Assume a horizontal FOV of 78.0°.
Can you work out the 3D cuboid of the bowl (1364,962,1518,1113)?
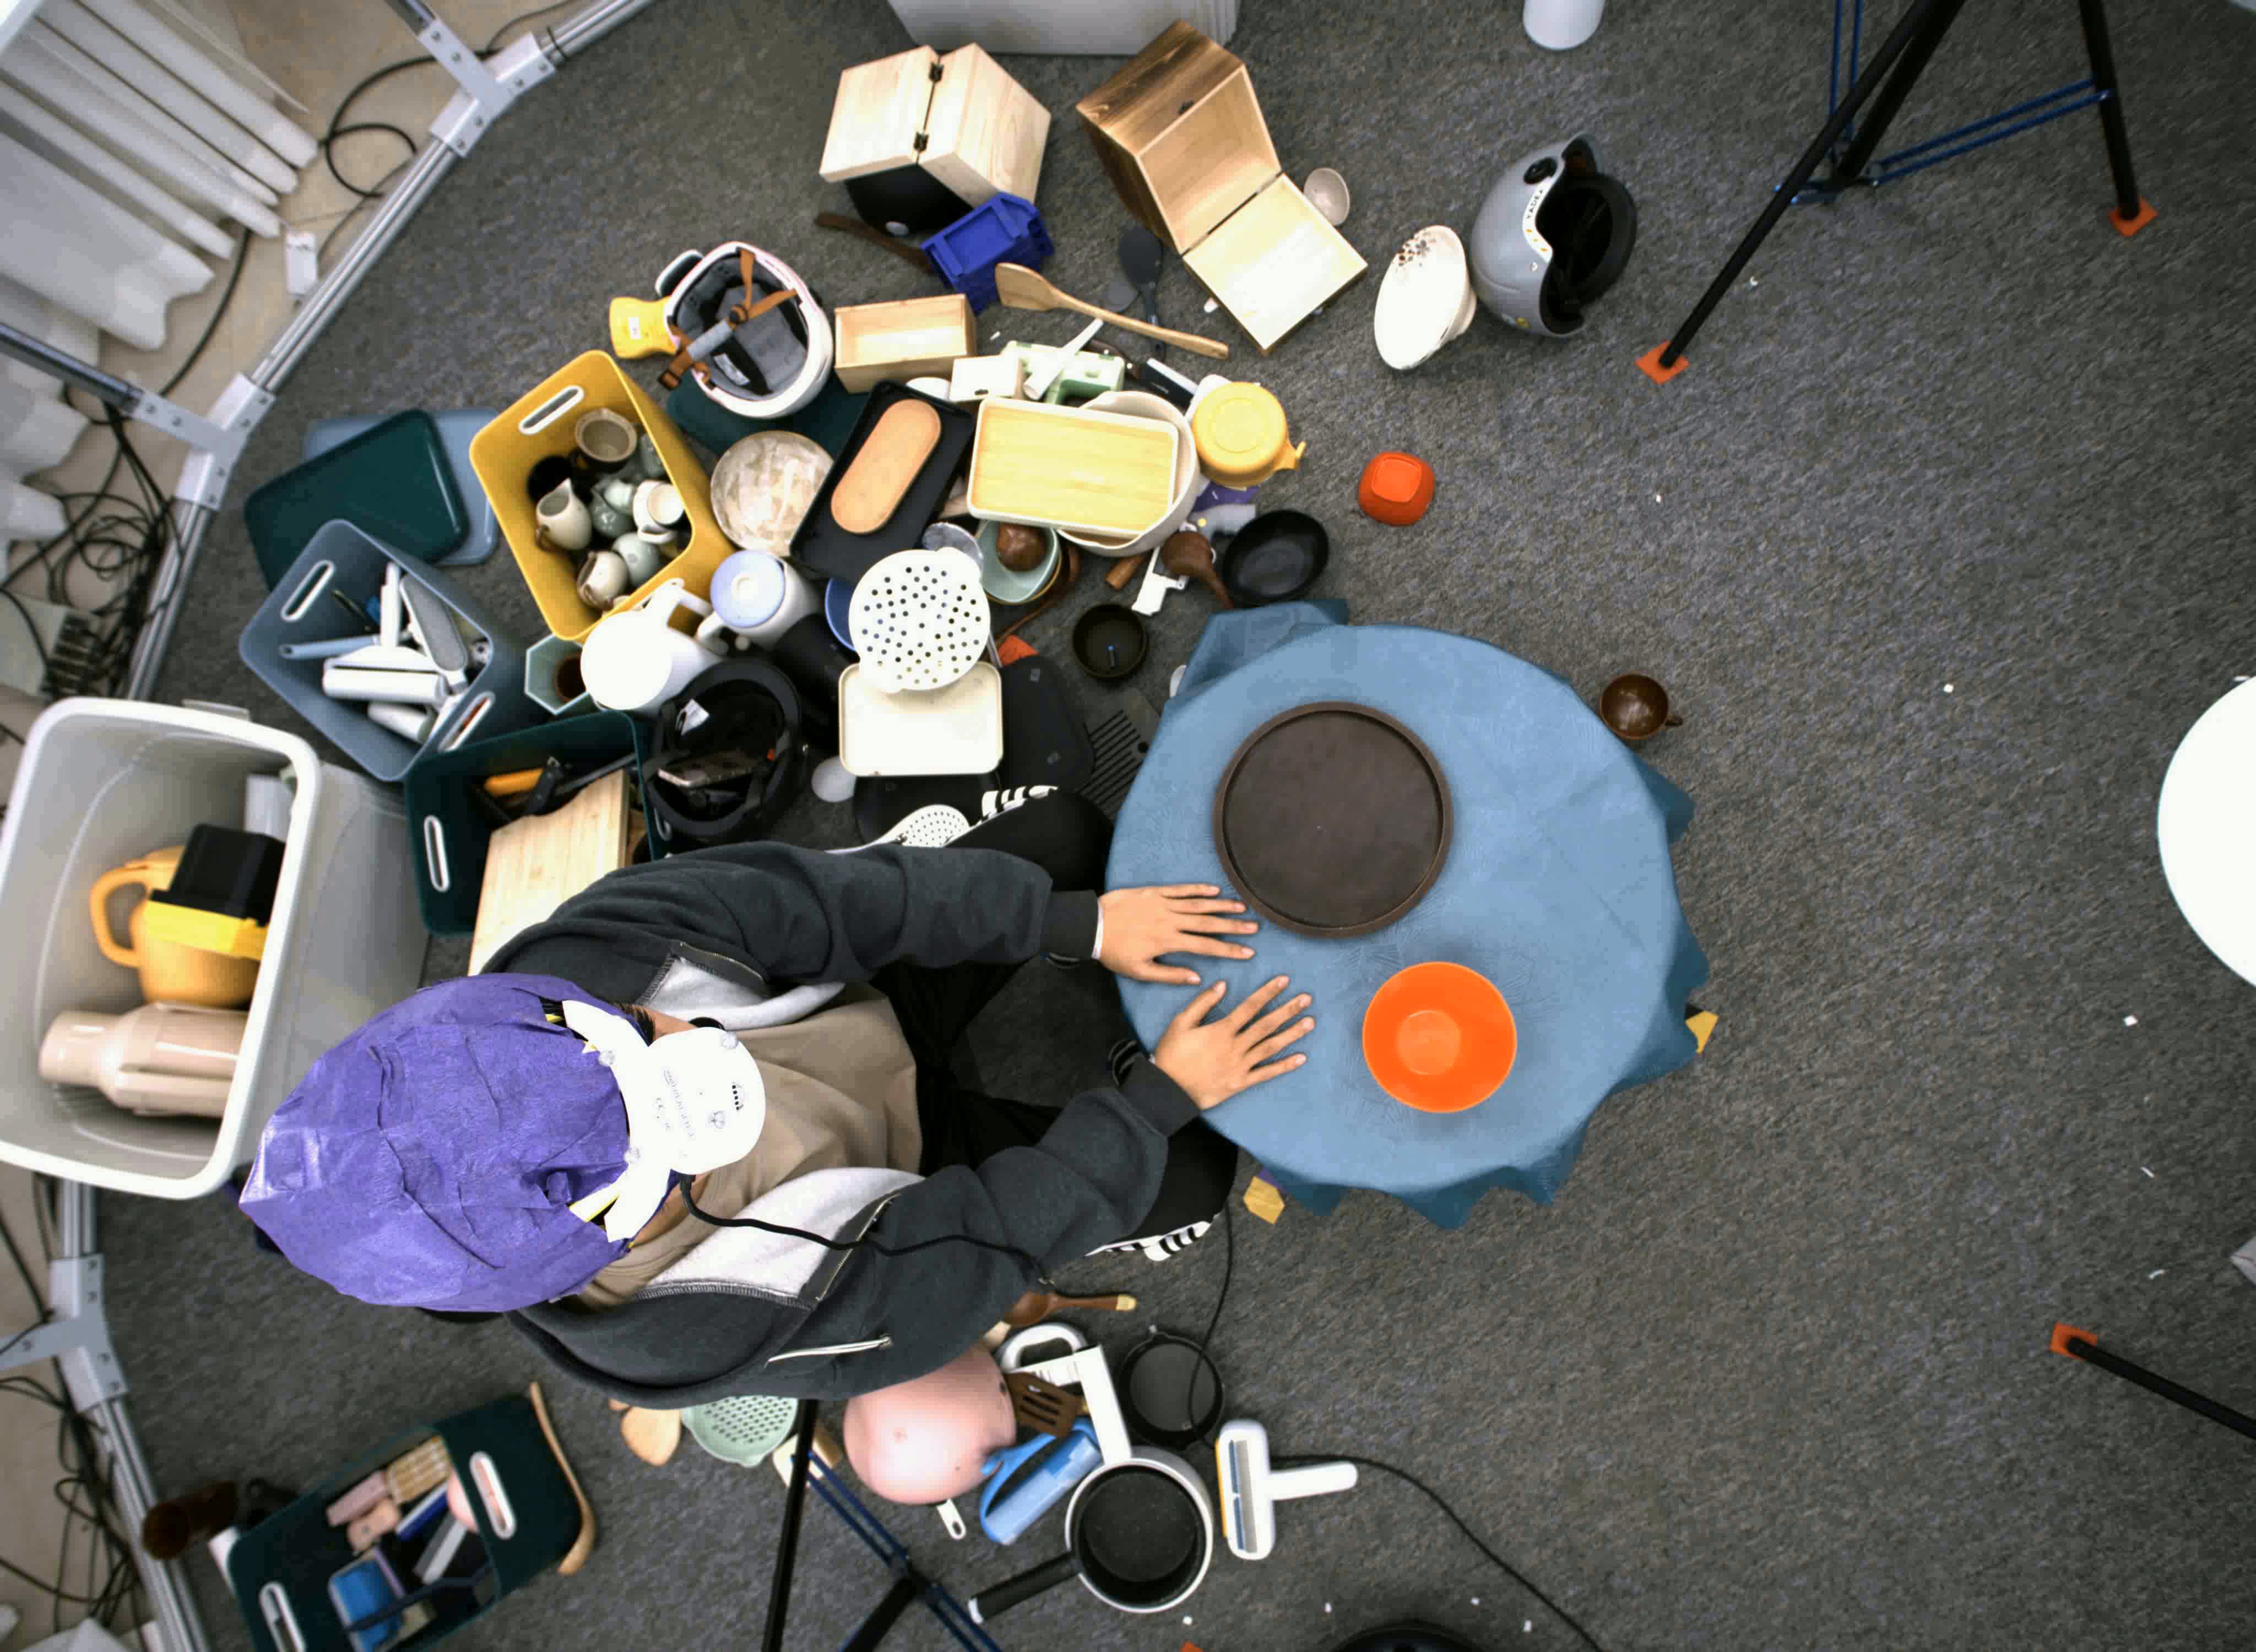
[{"bbox_3d":[0.311,0.210,1.392,0.148,0.104,0.147,-1,87,9],"label":"bowl"}]

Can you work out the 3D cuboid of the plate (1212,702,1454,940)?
[{"bbox_3d":[0.215,-0.007,1.462,0.256,0.029,0.254,-1,88,10],"label":"plate"}]
